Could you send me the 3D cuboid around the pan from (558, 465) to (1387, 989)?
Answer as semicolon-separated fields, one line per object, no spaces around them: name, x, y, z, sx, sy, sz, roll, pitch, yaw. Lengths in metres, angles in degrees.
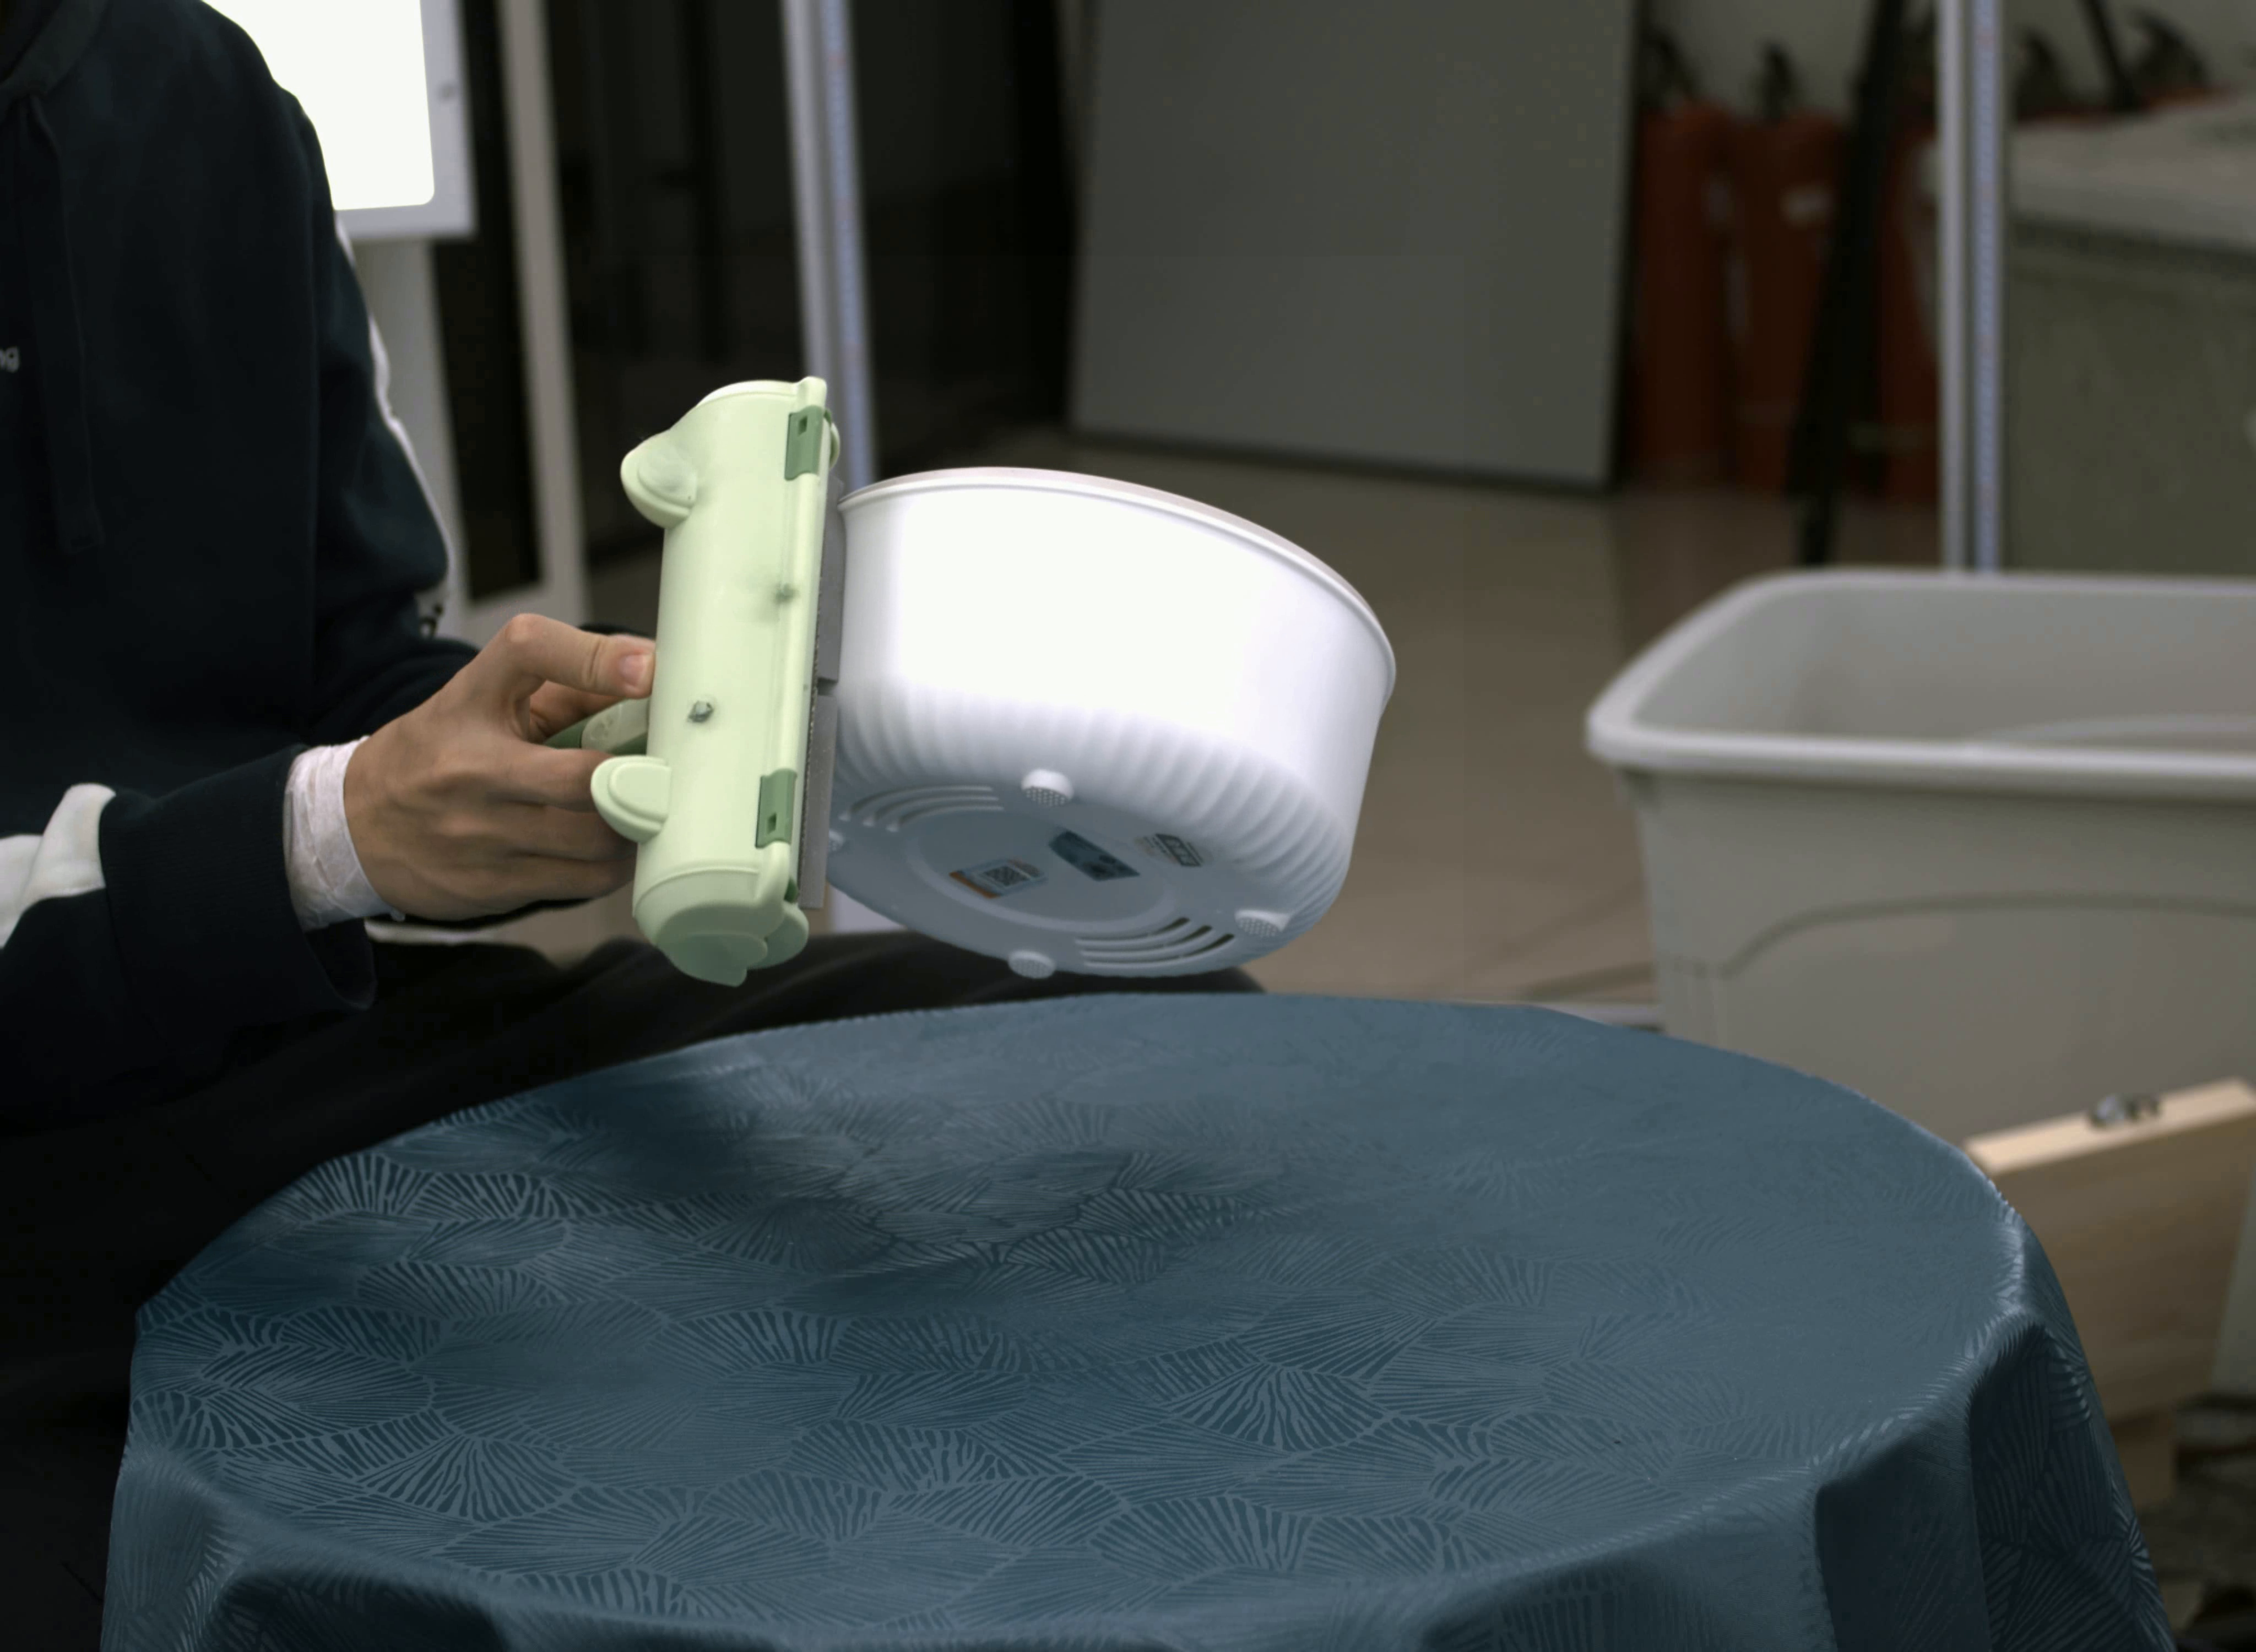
pan;-0.076;-0.010;1.786;0.358;0.103;0.197;-14;-33;42

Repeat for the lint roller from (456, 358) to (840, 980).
lint roller;-0.165;-0.035;1.690;0.184;0.200;0.081;-24;-41;34
